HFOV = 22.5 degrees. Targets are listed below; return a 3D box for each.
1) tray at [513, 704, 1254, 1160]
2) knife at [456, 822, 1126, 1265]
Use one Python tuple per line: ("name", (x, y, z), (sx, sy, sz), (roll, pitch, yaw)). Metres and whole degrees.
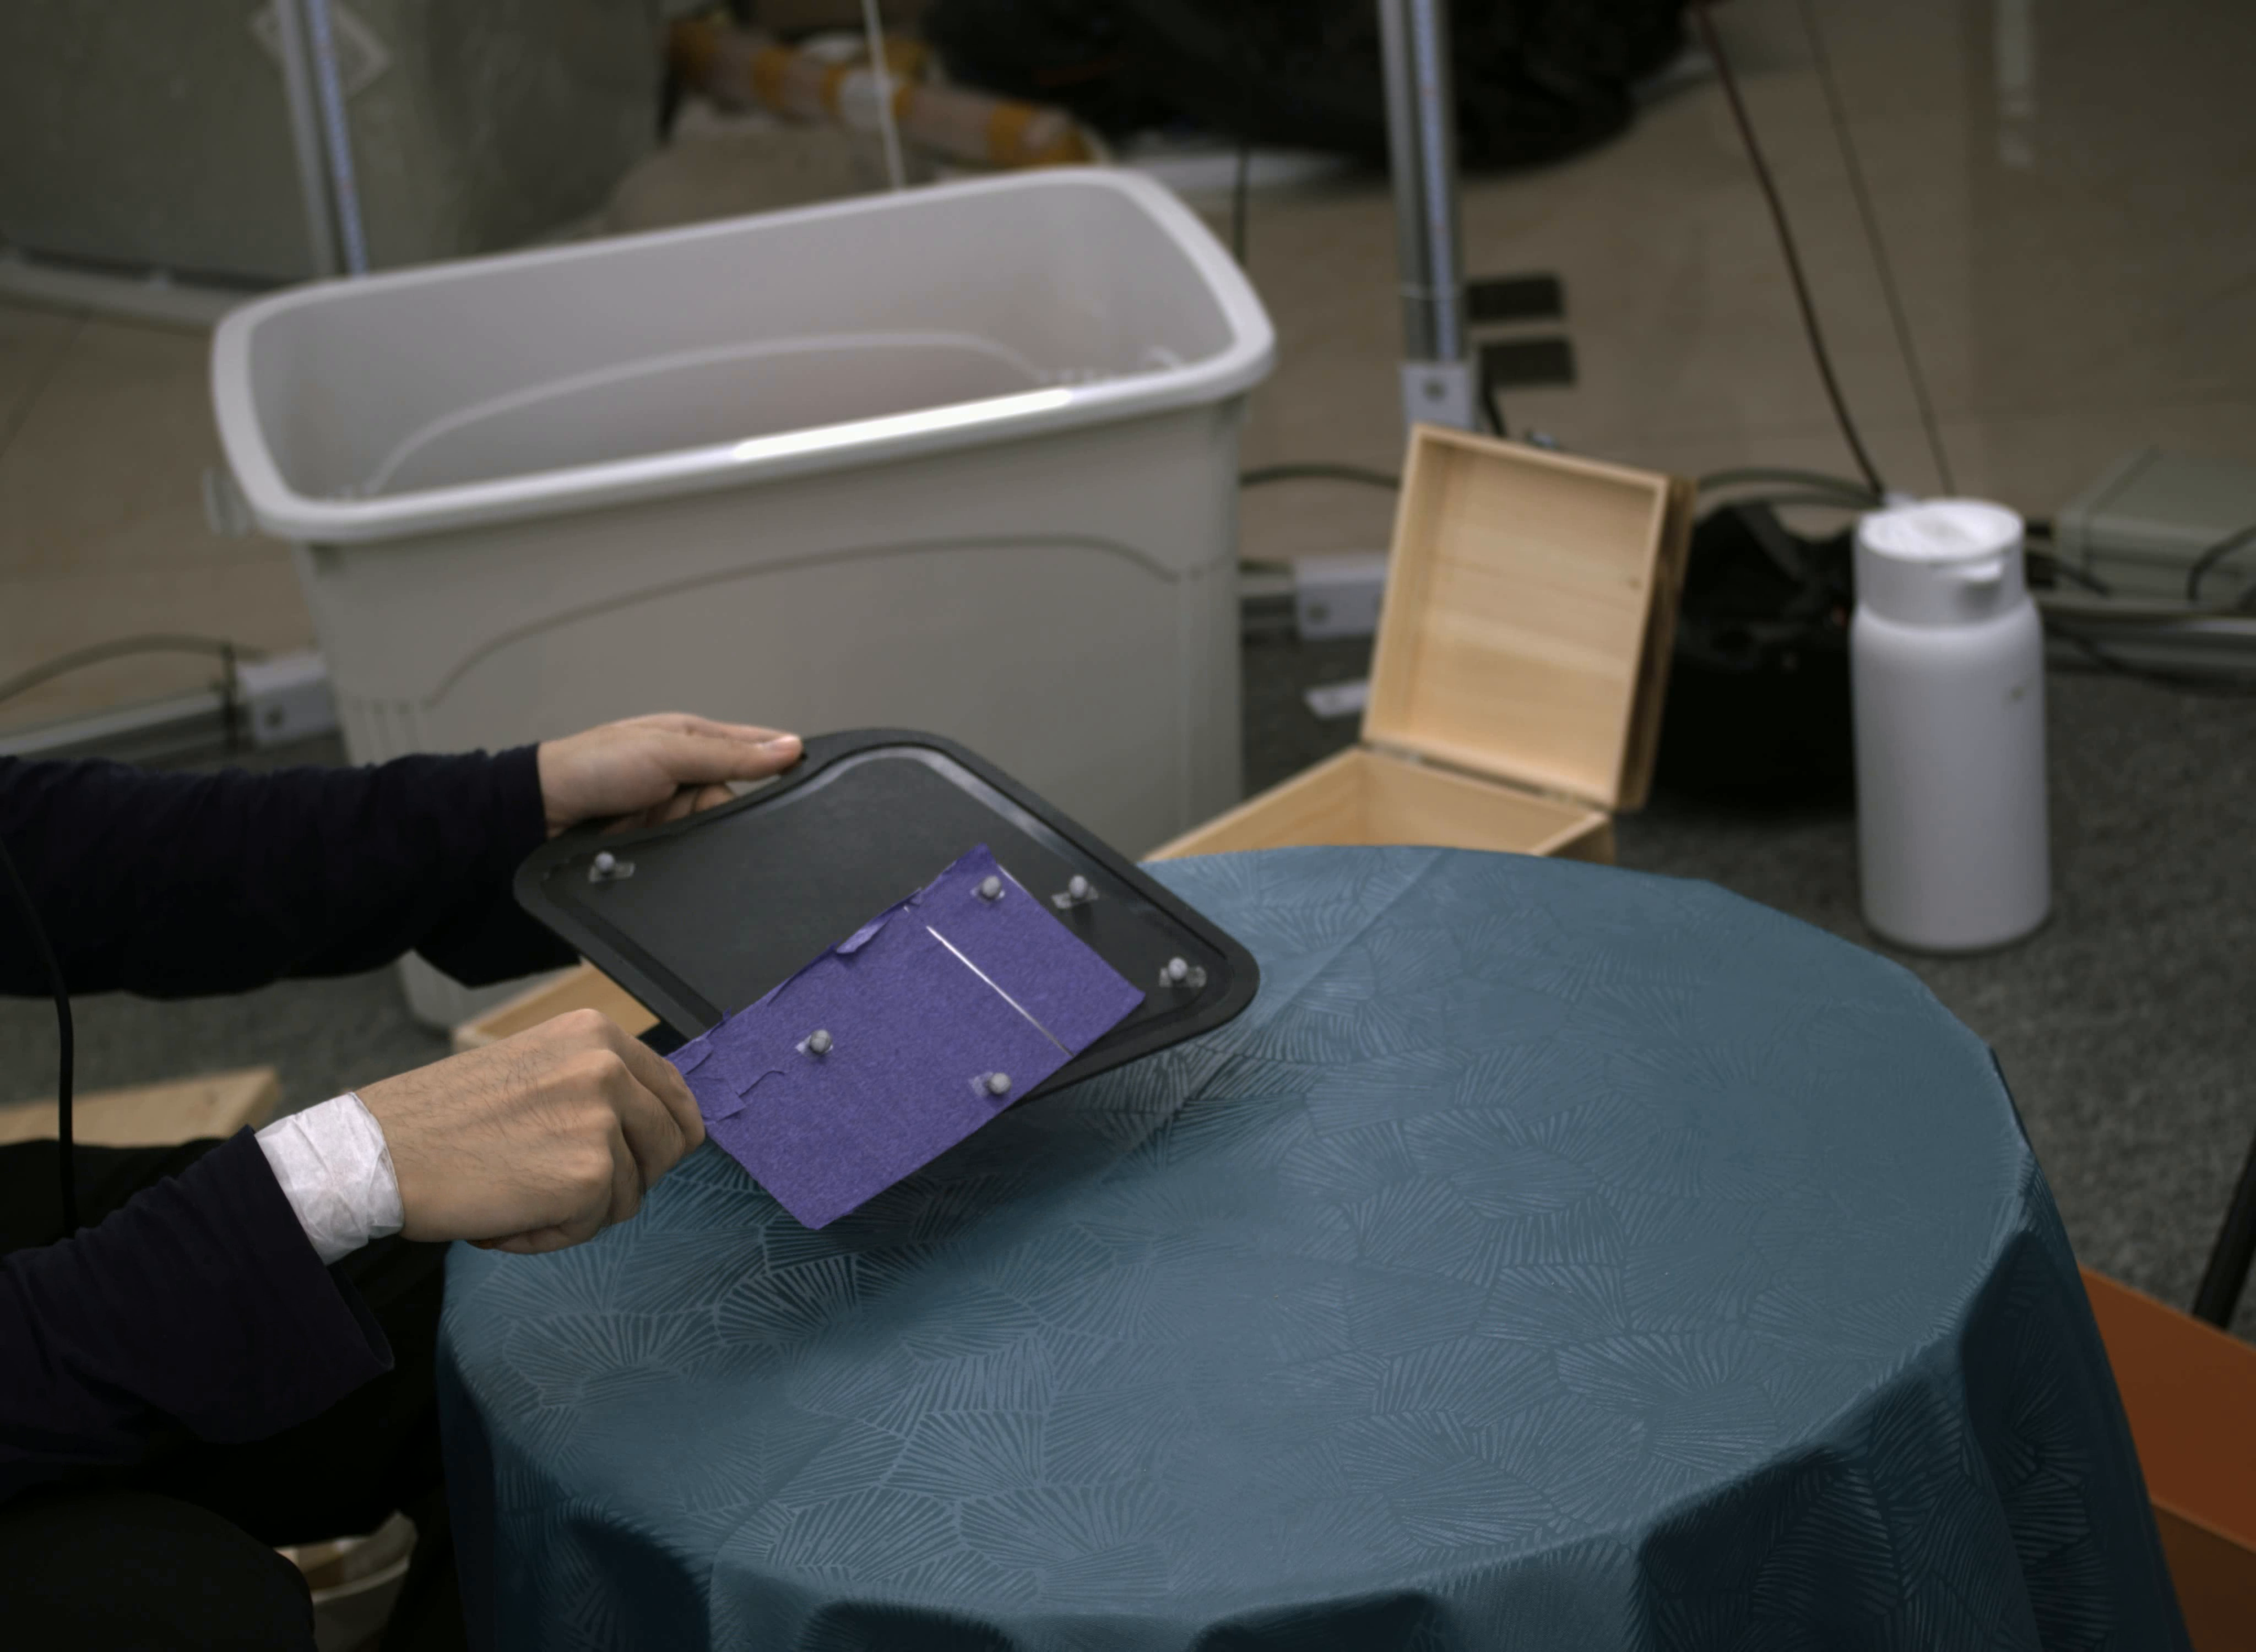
("tray", (-0.107, 0.035, 2.272), (0.210, 0.010, 0.321), (-24, 36, -23))
("knife", (-0.114, 0.095, 2.096), (0.103, 0.033, 0.312), (42, 46, 12))
